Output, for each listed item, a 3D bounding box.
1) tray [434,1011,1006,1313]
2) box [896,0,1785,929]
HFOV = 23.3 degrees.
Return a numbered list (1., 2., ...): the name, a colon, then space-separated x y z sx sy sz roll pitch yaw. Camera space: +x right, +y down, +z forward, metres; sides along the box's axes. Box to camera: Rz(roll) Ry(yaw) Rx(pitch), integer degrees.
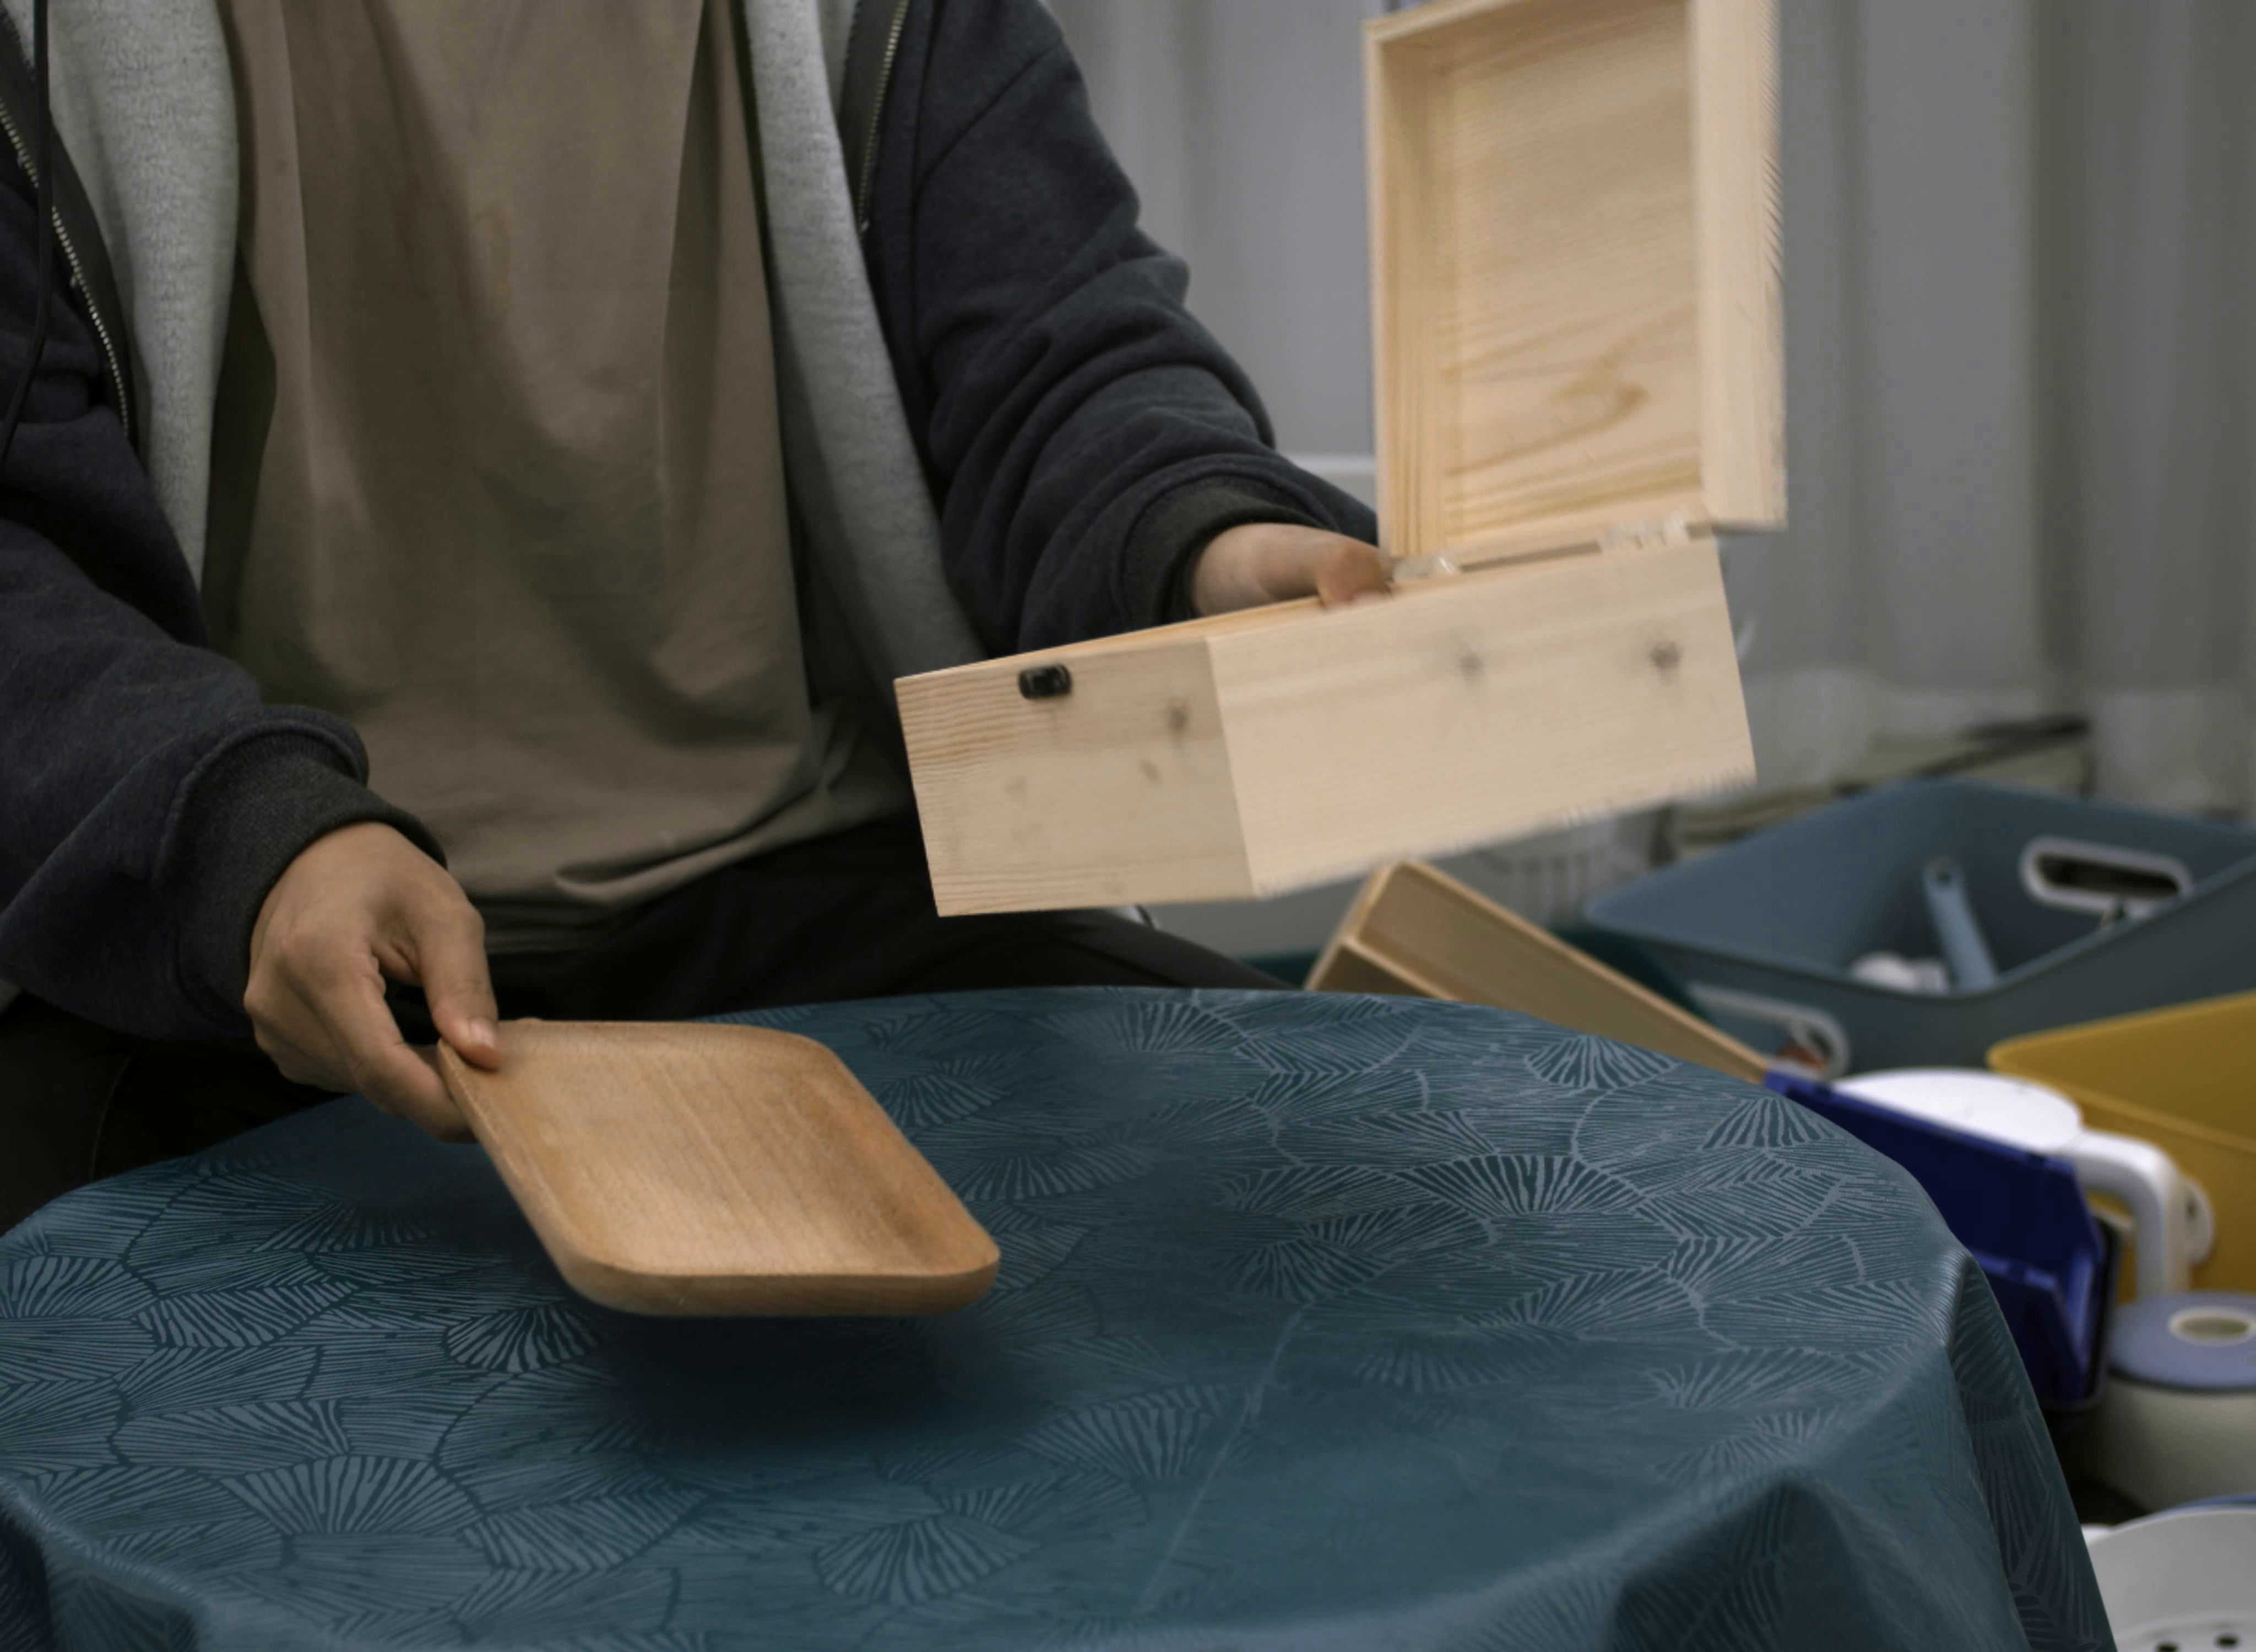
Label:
1. tray: -0.125 0.097 1.617 0.130 0.023 0.253 4 12 -18
2. box: 0.067 -0.121 1.651 0.264 0.254 0.182 -11 -1 -32
